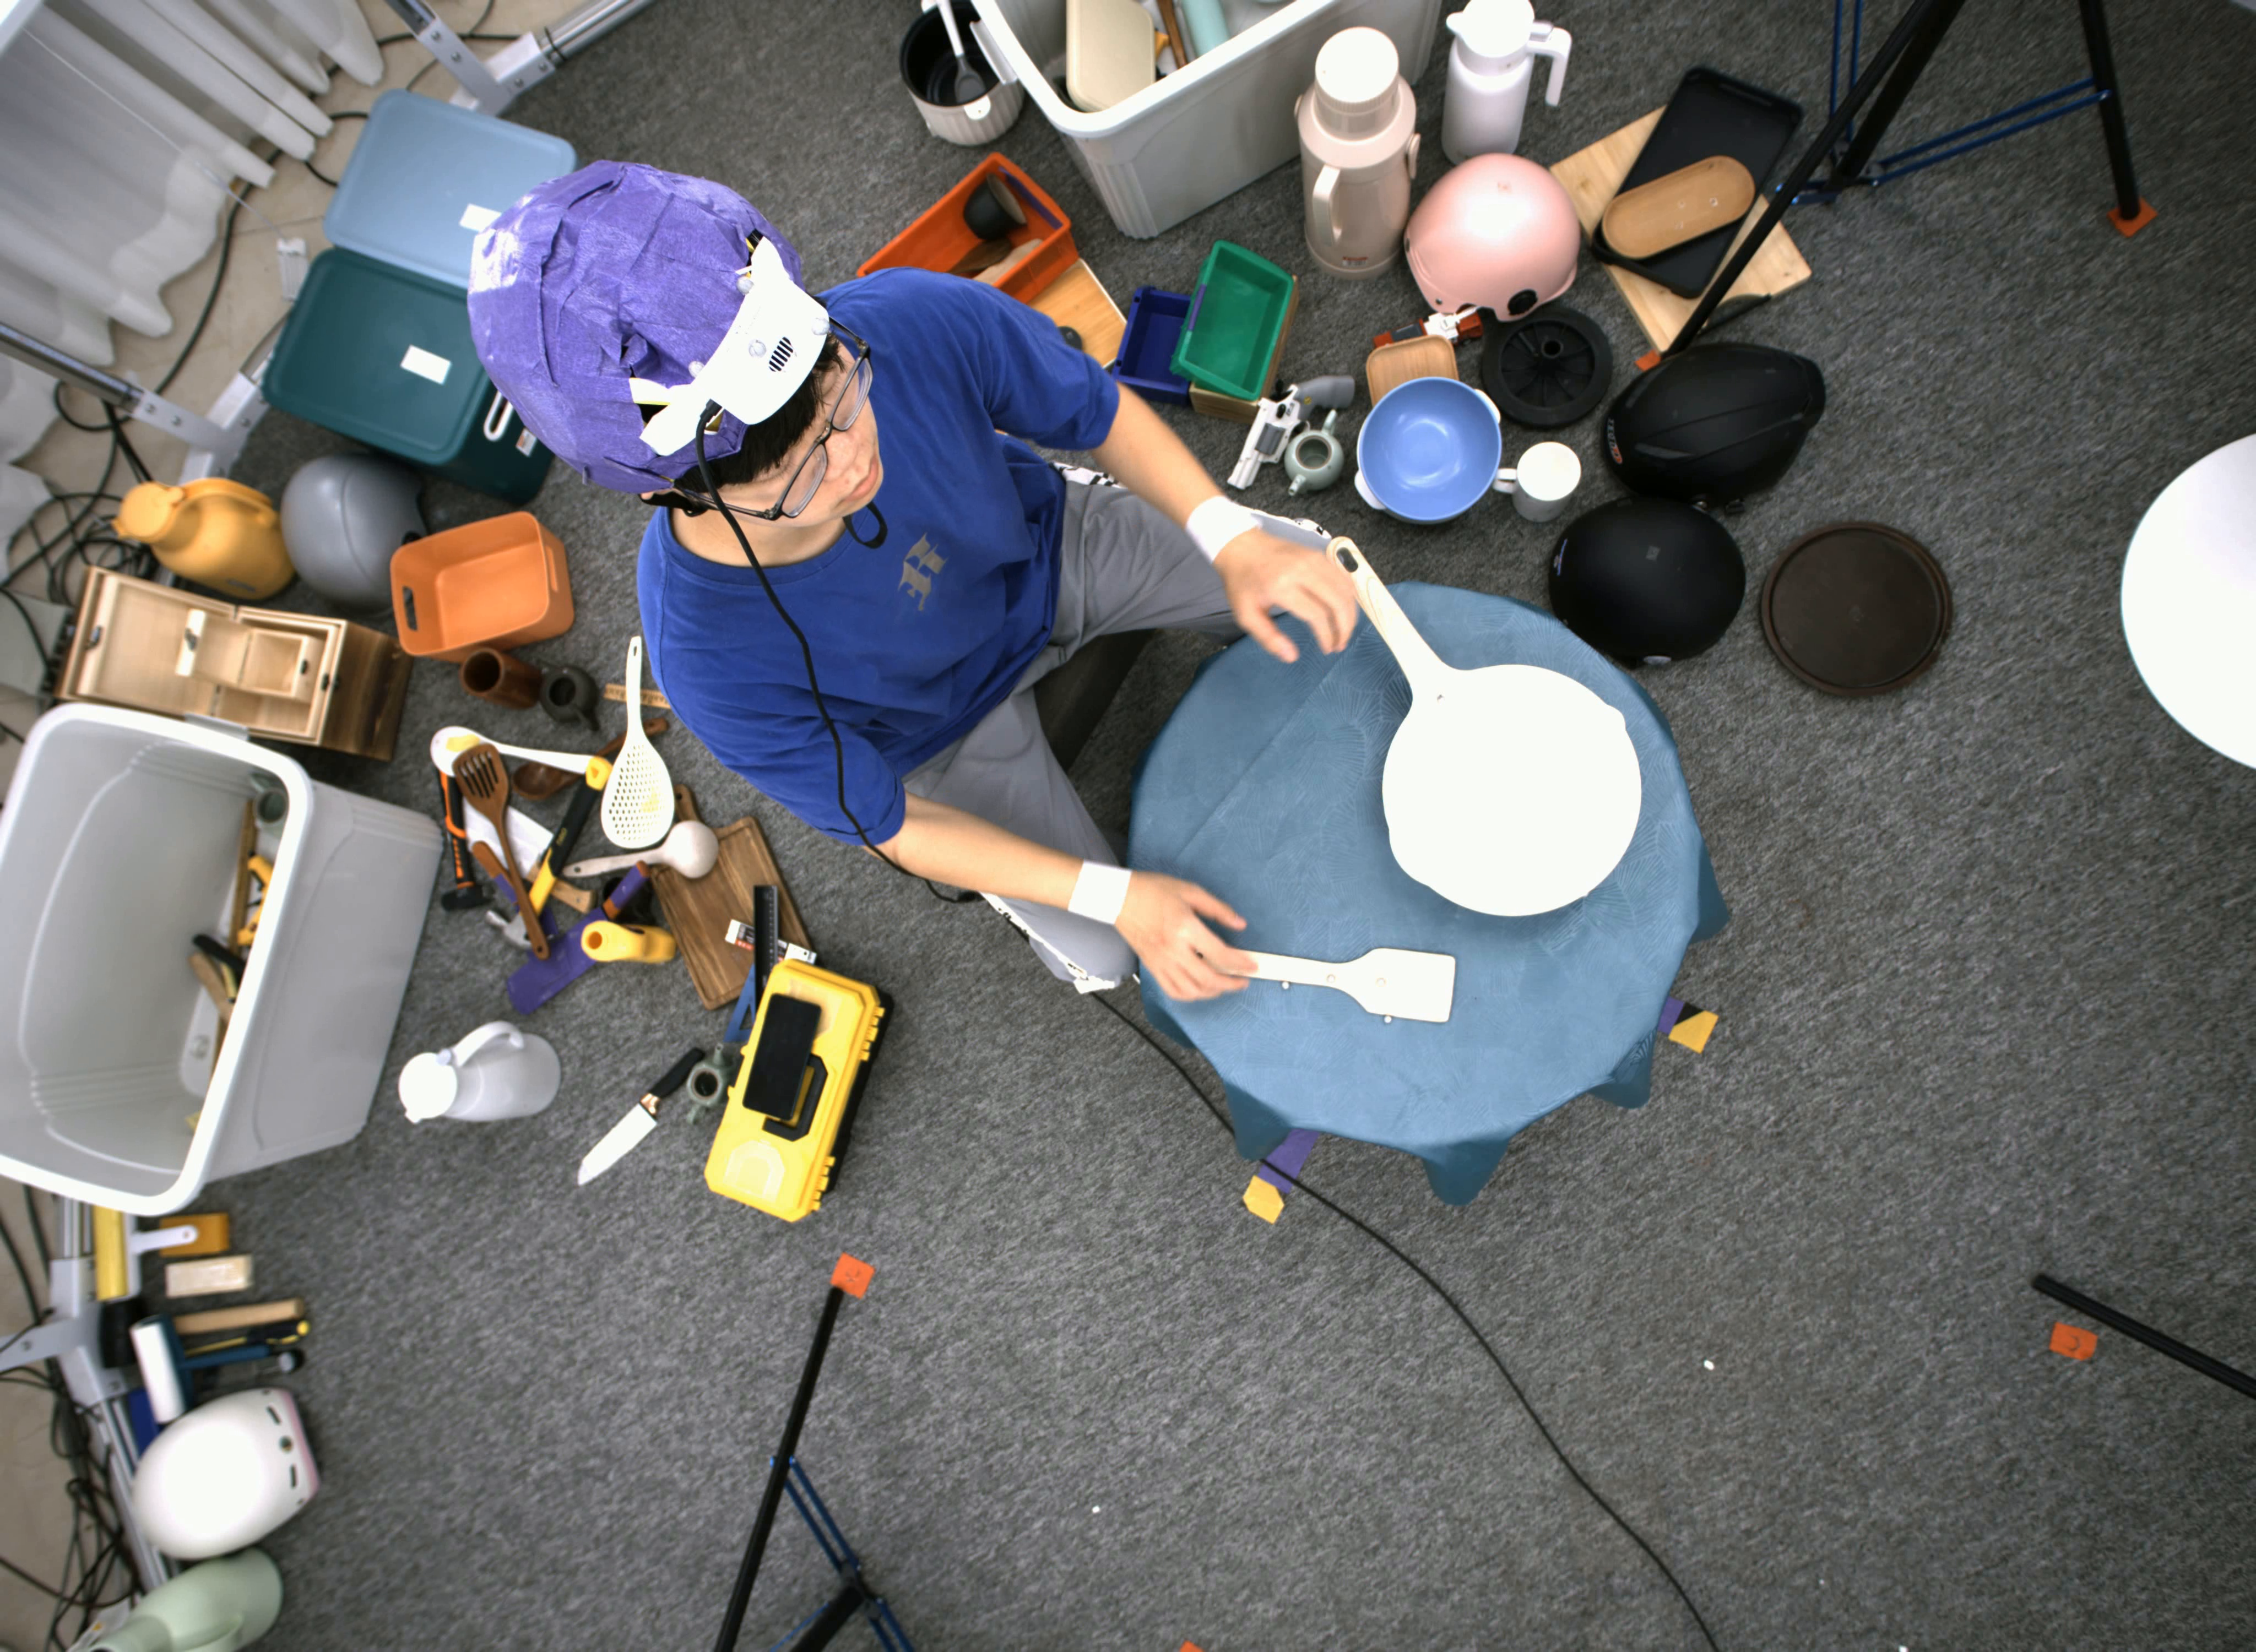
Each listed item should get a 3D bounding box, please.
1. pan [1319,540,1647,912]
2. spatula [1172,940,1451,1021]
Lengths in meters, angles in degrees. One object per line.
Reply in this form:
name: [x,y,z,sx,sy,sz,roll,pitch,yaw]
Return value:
pan: [0.338,-0.113,1.404,0.265,0.102,0.432,-37,81,8]
spatula: [0.191,0.152,1.464,0.294,0.010,0.072,6,90,11]
